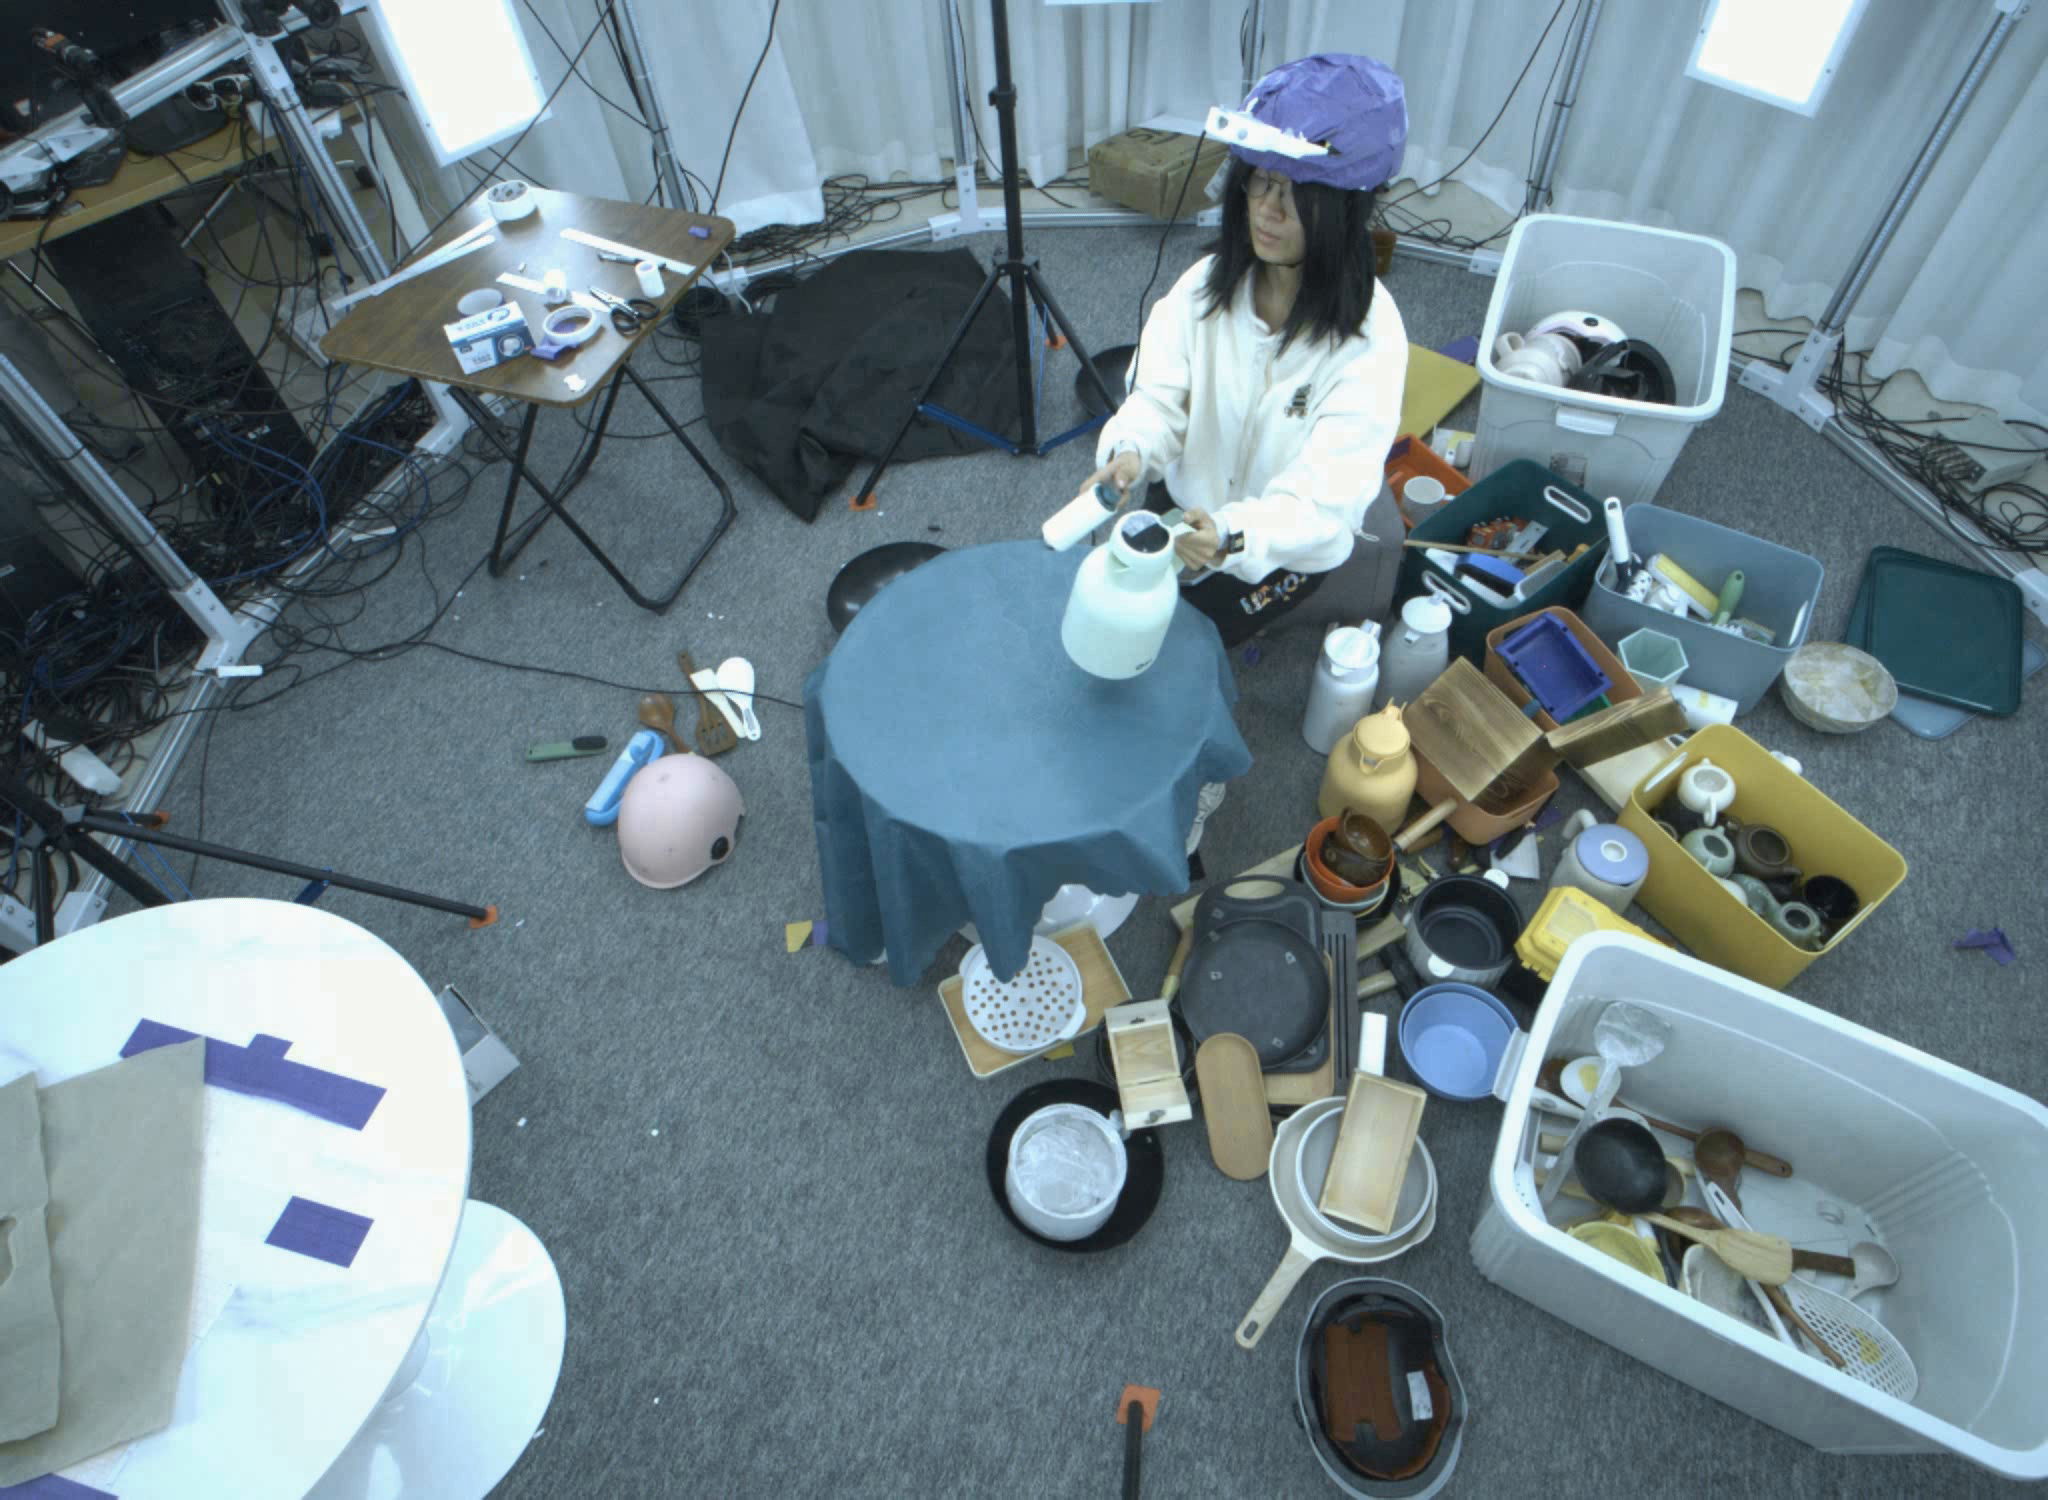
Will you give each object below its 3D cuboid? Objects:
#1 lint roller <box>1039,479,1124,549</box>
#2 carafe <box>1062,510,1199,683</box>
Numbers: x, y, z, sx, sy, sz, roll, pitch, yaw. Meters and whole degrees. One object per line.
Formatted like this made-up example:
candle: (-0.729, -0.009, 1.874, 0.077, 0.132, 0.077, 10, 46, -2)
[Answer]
lint roller: (0.096, -0.357, 1.720, 0.049, 0.132, 0.180, 47, 39, -16)
carafe: (0.150, -0.219, 1.676, 0.188, 0.257, 0.142, -33, 70, -27)
